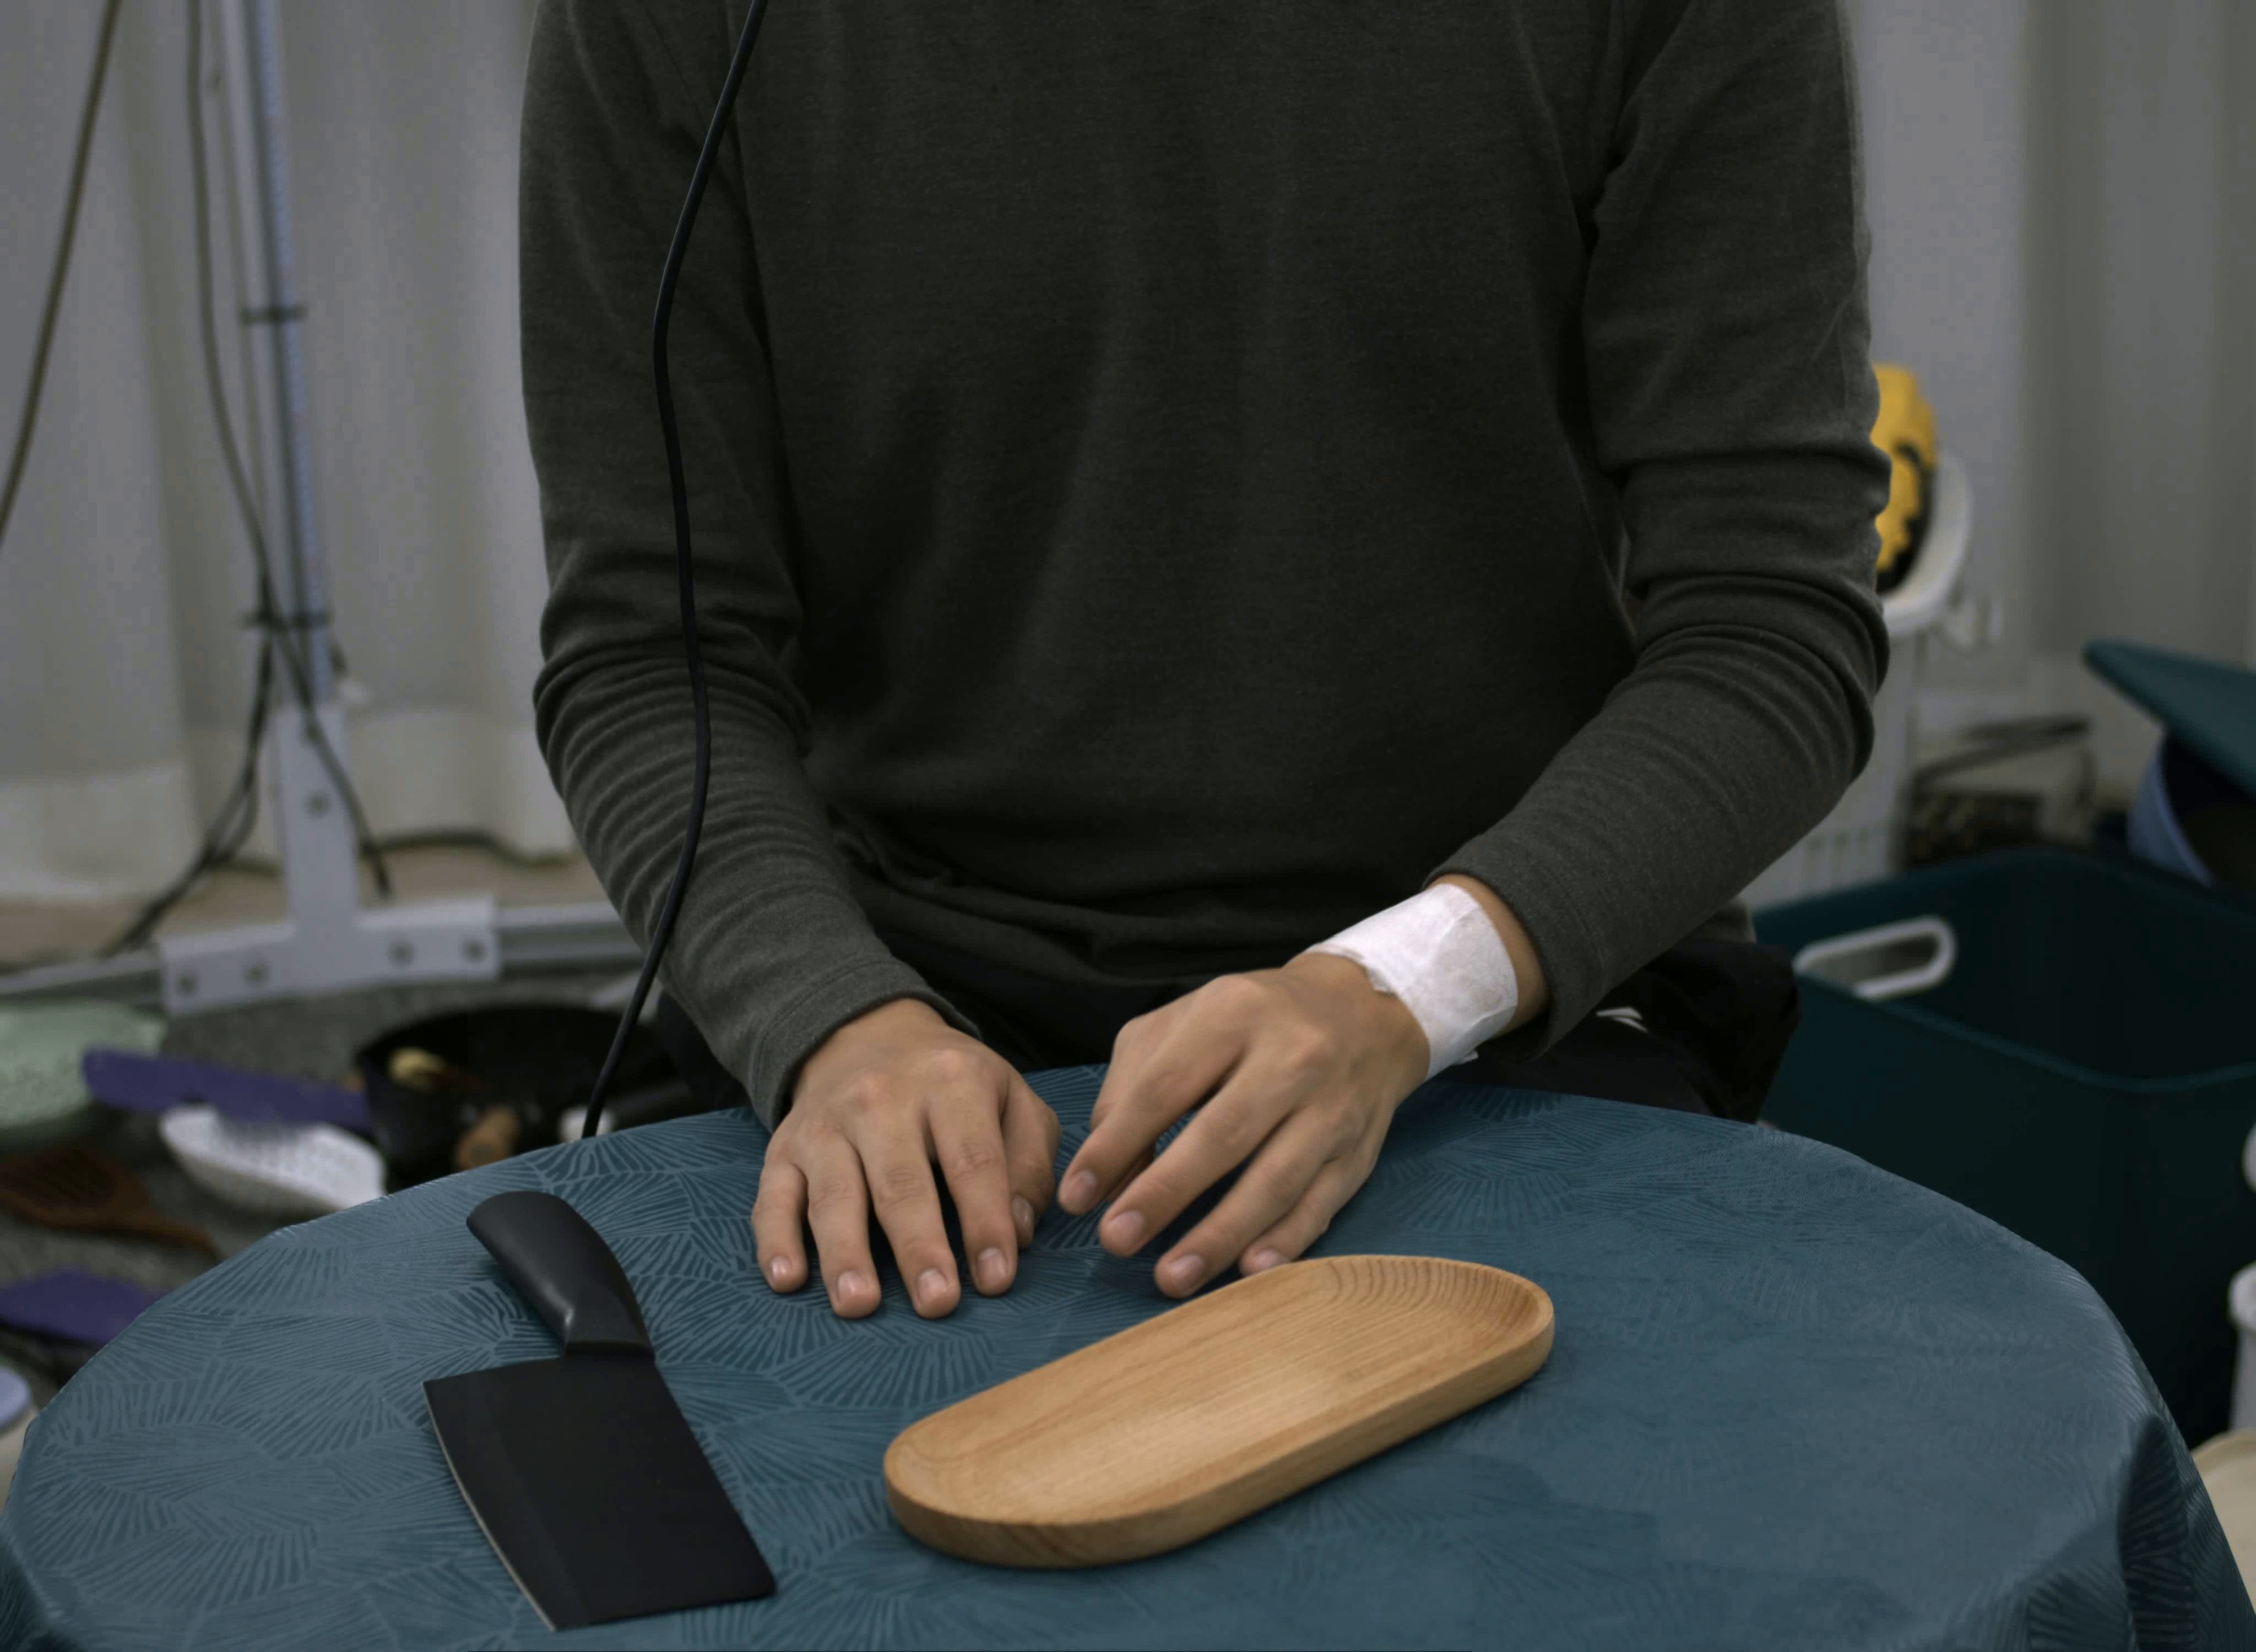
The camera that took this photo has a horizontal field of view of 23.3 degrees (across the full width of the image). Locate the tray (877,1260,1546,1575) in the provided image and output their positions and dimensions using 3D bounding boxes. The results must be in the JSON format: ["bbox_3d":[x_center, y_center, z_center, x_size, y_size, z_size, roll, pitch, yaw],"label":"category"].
[{"bbox_3d":[0.026,0.161,1.506,0.102,0.020,0.231,8,19,40],"label":"tray"}]

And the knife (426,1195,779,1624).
[{"bbox_3d":[-0.158,0.162,1.543,0.080,0.021,0.305,-7,17,-10],"label":"knife"}]
